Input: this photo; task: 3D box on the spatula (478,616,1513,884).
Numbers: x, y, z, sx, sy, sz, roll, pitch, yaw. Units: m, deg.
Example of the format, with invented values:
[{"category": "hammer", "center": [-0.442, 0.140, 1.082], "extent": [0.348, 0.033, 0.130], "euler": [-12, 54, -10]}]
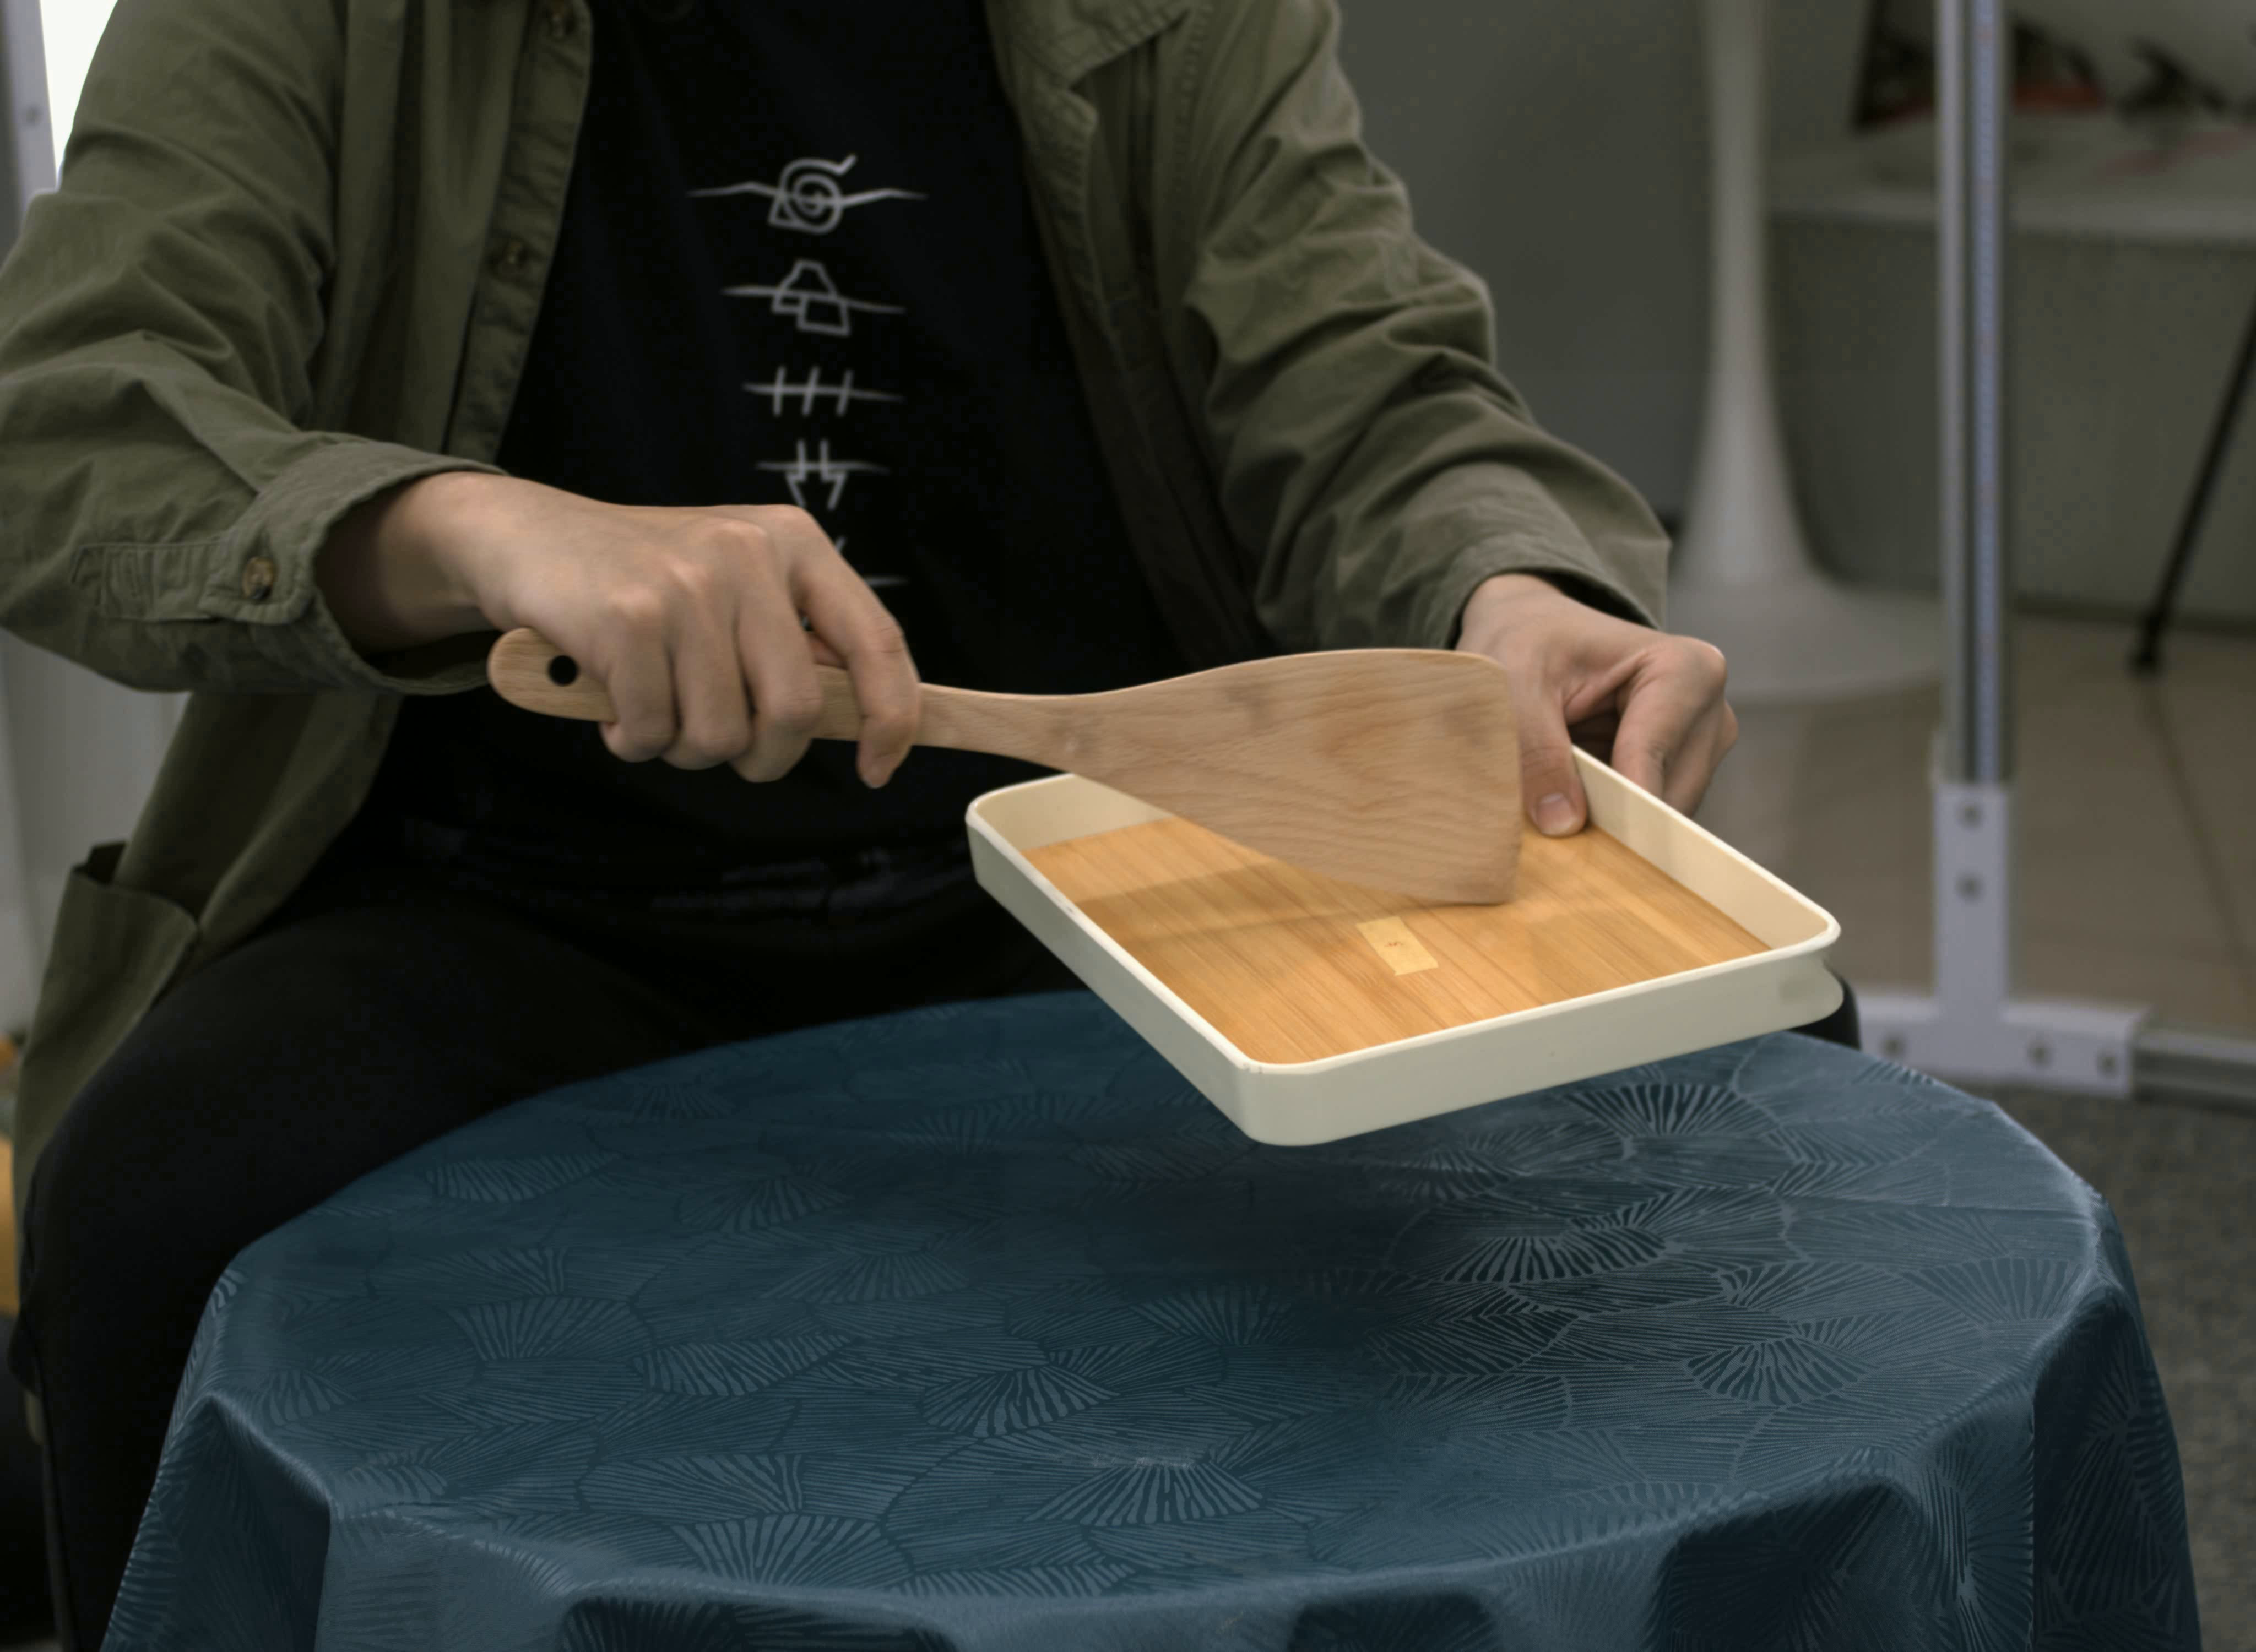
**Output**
[{"category": "spatula", "center": [-0.038, -0.036, 1.665], "extent": [0.323, 0.081, 0.016], "euler": [6, 10, -2]}]

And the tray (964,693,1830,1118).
[{"category": "tray", "center": [0.076, 0.019, 1.672], "extent": [0.188, 0.027, 0.303], "euler": [-12, 17, -14]}]
